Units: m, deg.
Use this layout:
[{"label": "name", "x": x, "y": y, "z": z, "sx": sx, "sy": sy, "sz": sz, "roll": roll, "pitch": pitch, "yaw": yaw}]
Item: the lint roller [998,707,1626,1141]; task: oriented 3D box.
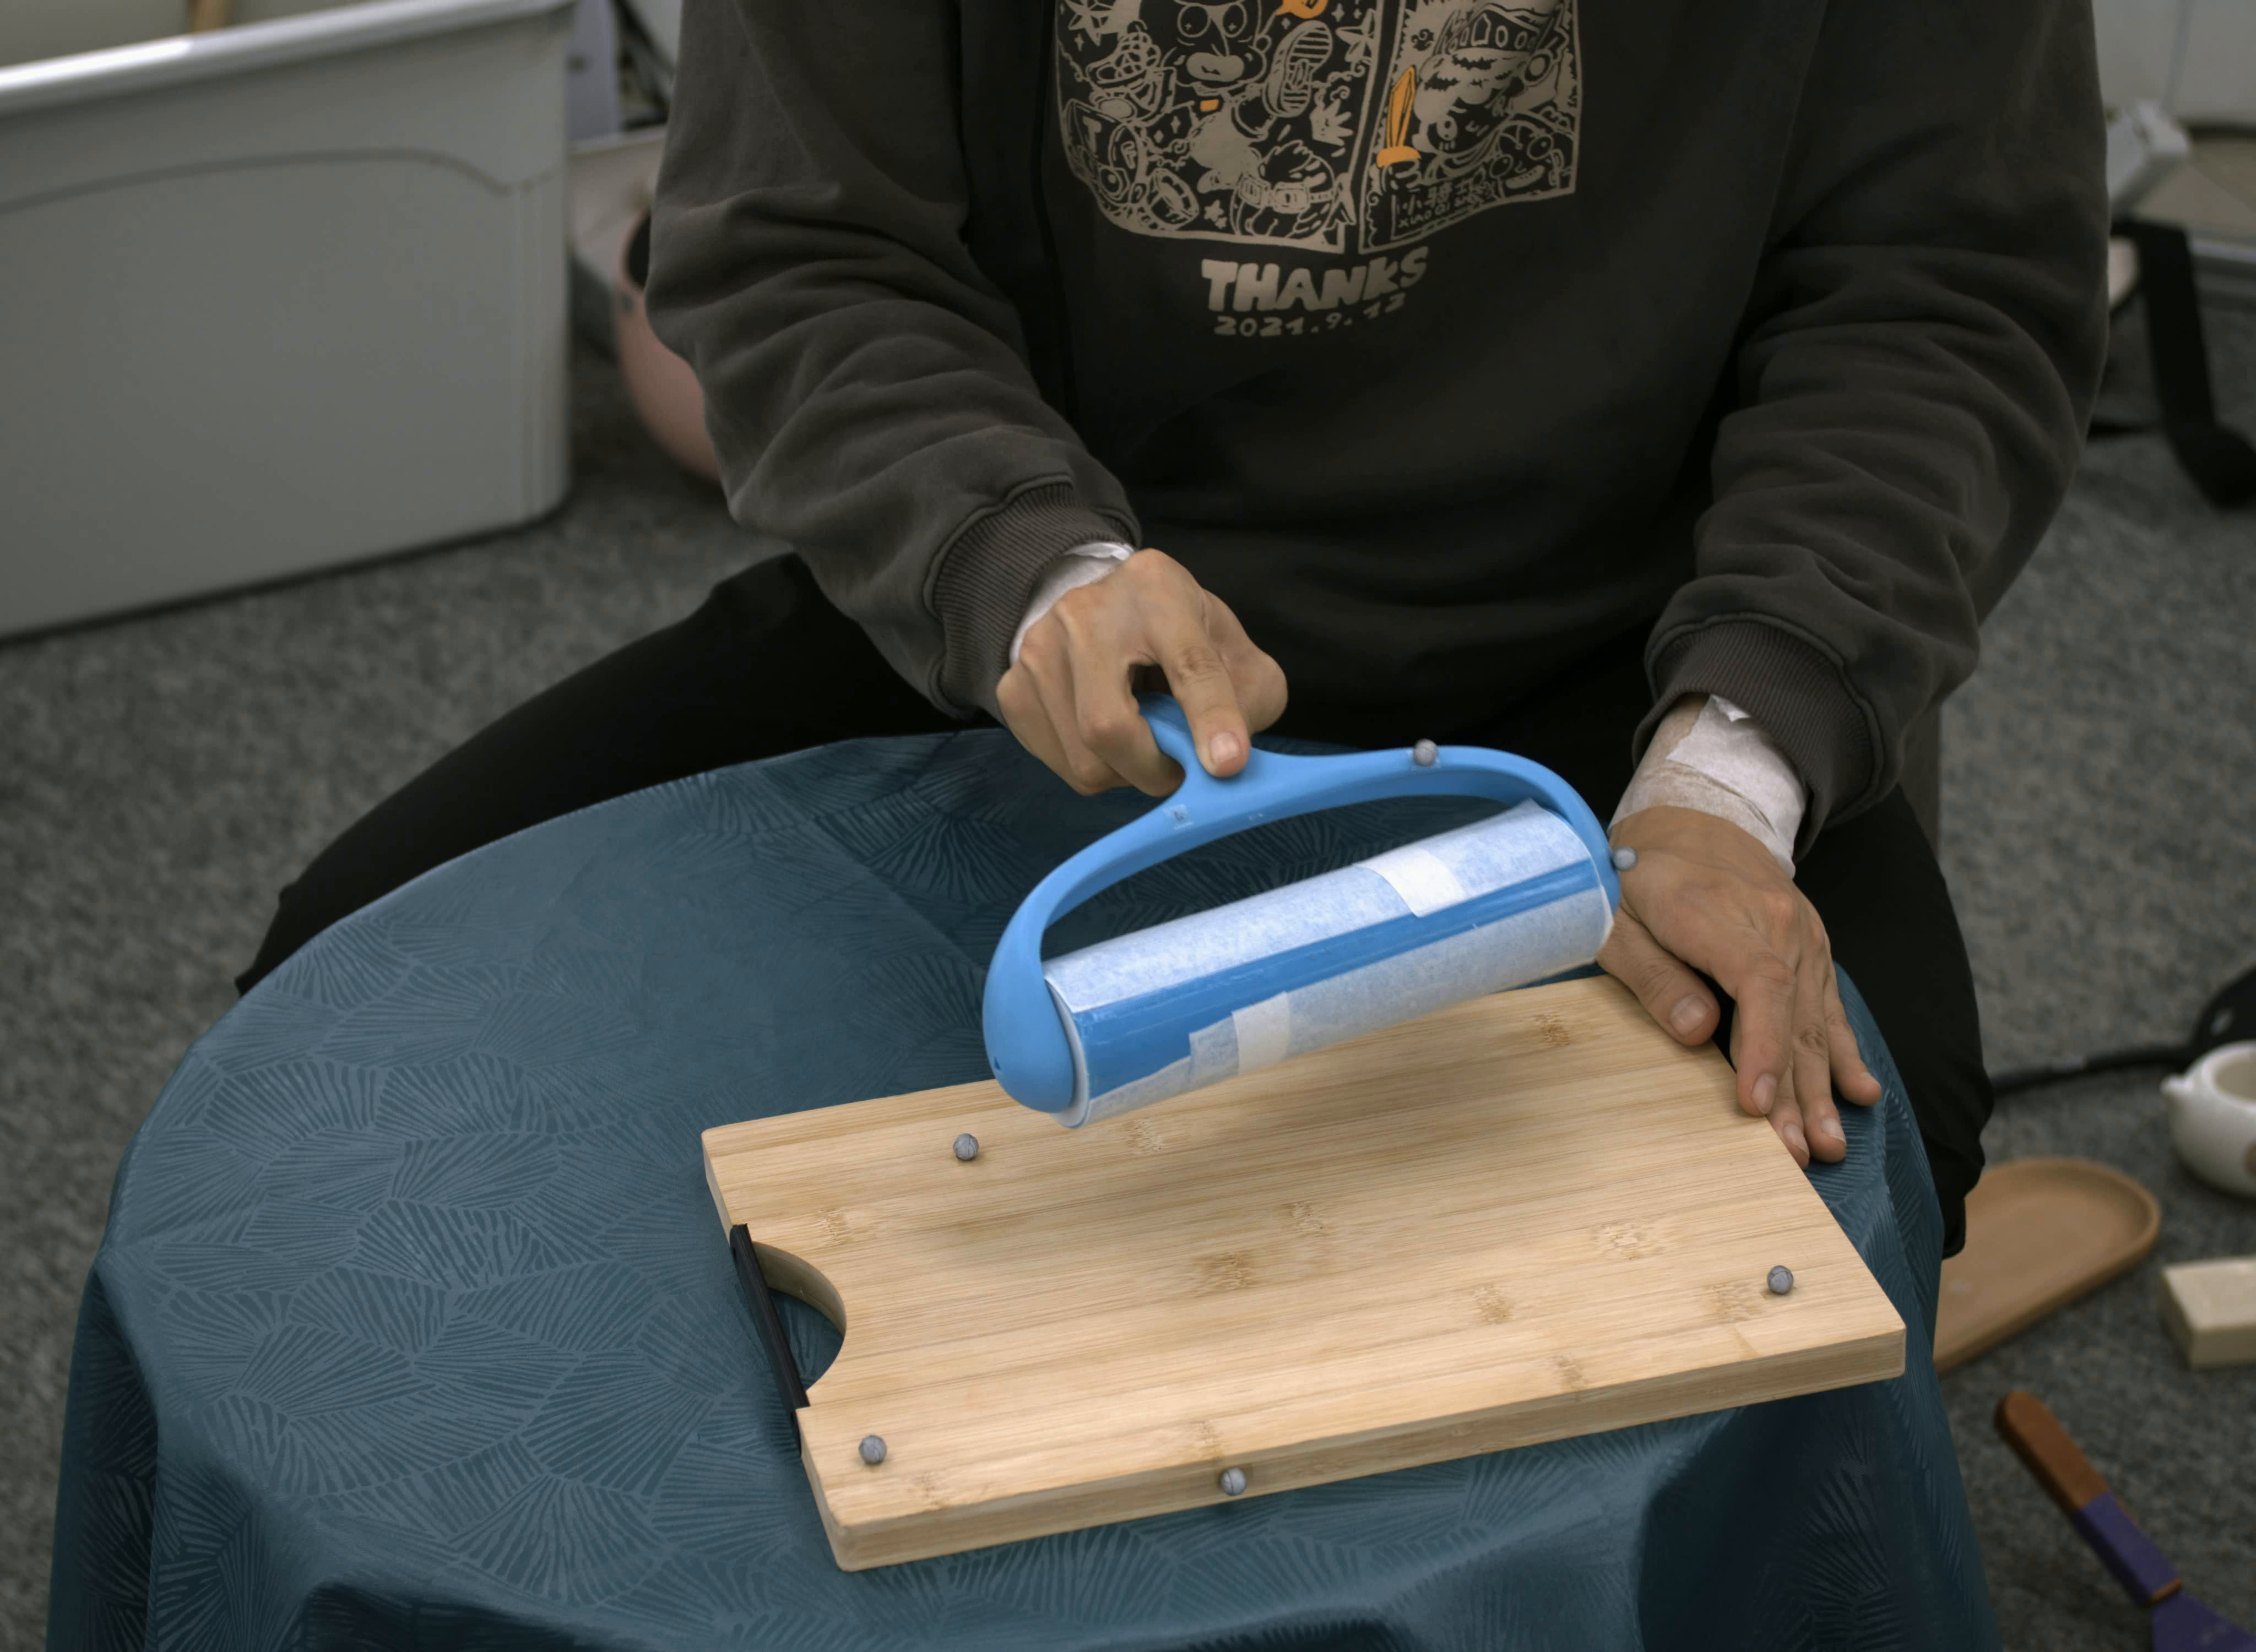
[{"label": "lint roller", "x": 0.031, "y": 0.007, "z": 1.838, "sx": 0.230, "sy": 0.067, "sz": 0.182, "roll": -21, "pitch": 51, "yaw": -26}]

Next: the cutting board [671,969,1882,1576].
[{"label": "cutting board", "x": 0.043, "y": 0.138, "z": 1.808, "sx": 0.348, "sy": 0.023, "sz": 0.253, "roll": -9, "pitch": 28, "yaw": -12}]
